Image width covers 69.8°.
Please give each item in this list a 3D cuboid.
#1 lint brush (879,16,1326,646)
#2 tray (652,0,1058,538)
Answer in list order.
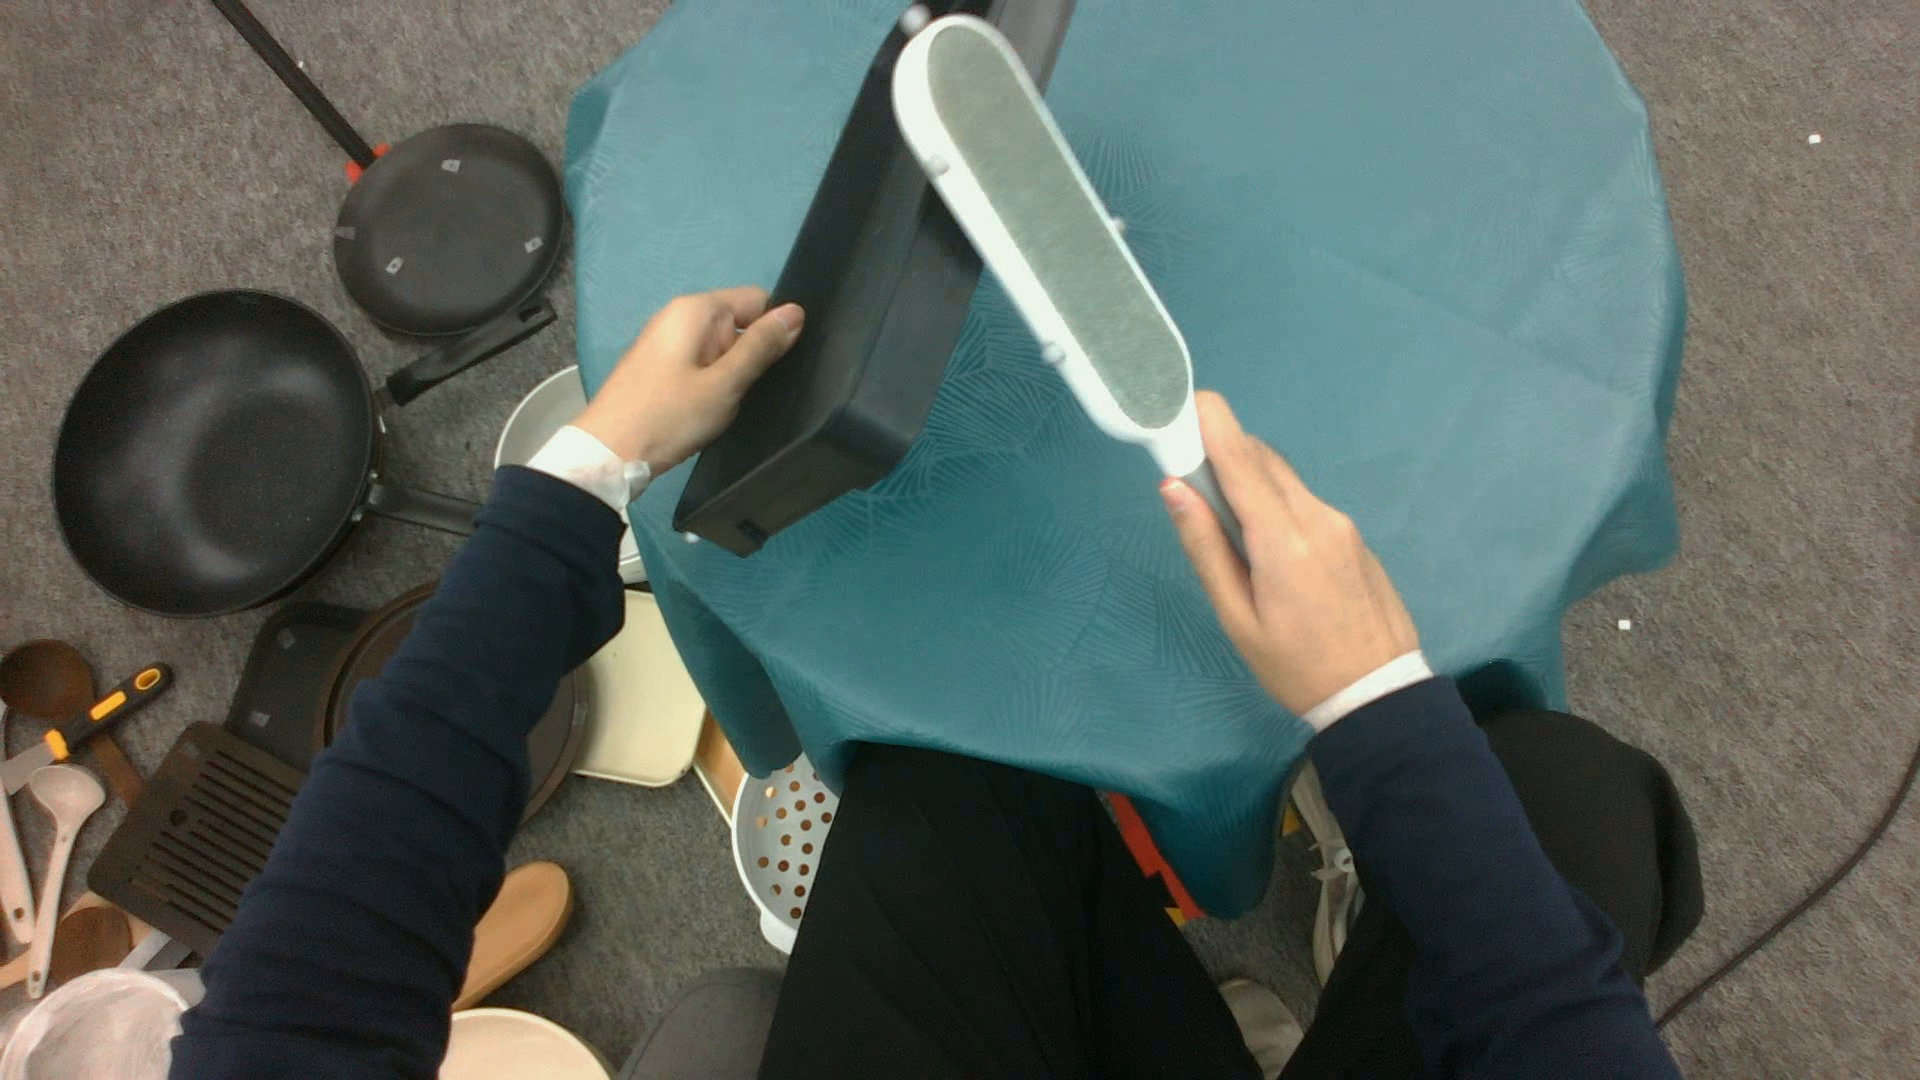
[{"bbox_3d":[0.066,-0.072,0.555,0.308,0.021,0.060,53,49,-19],"label":"lint brush"},{"bbox_3d":[-0.038,-0.157,0.623,0.037,0.183,0.319,30,64,-23],"label":"tray"}]
